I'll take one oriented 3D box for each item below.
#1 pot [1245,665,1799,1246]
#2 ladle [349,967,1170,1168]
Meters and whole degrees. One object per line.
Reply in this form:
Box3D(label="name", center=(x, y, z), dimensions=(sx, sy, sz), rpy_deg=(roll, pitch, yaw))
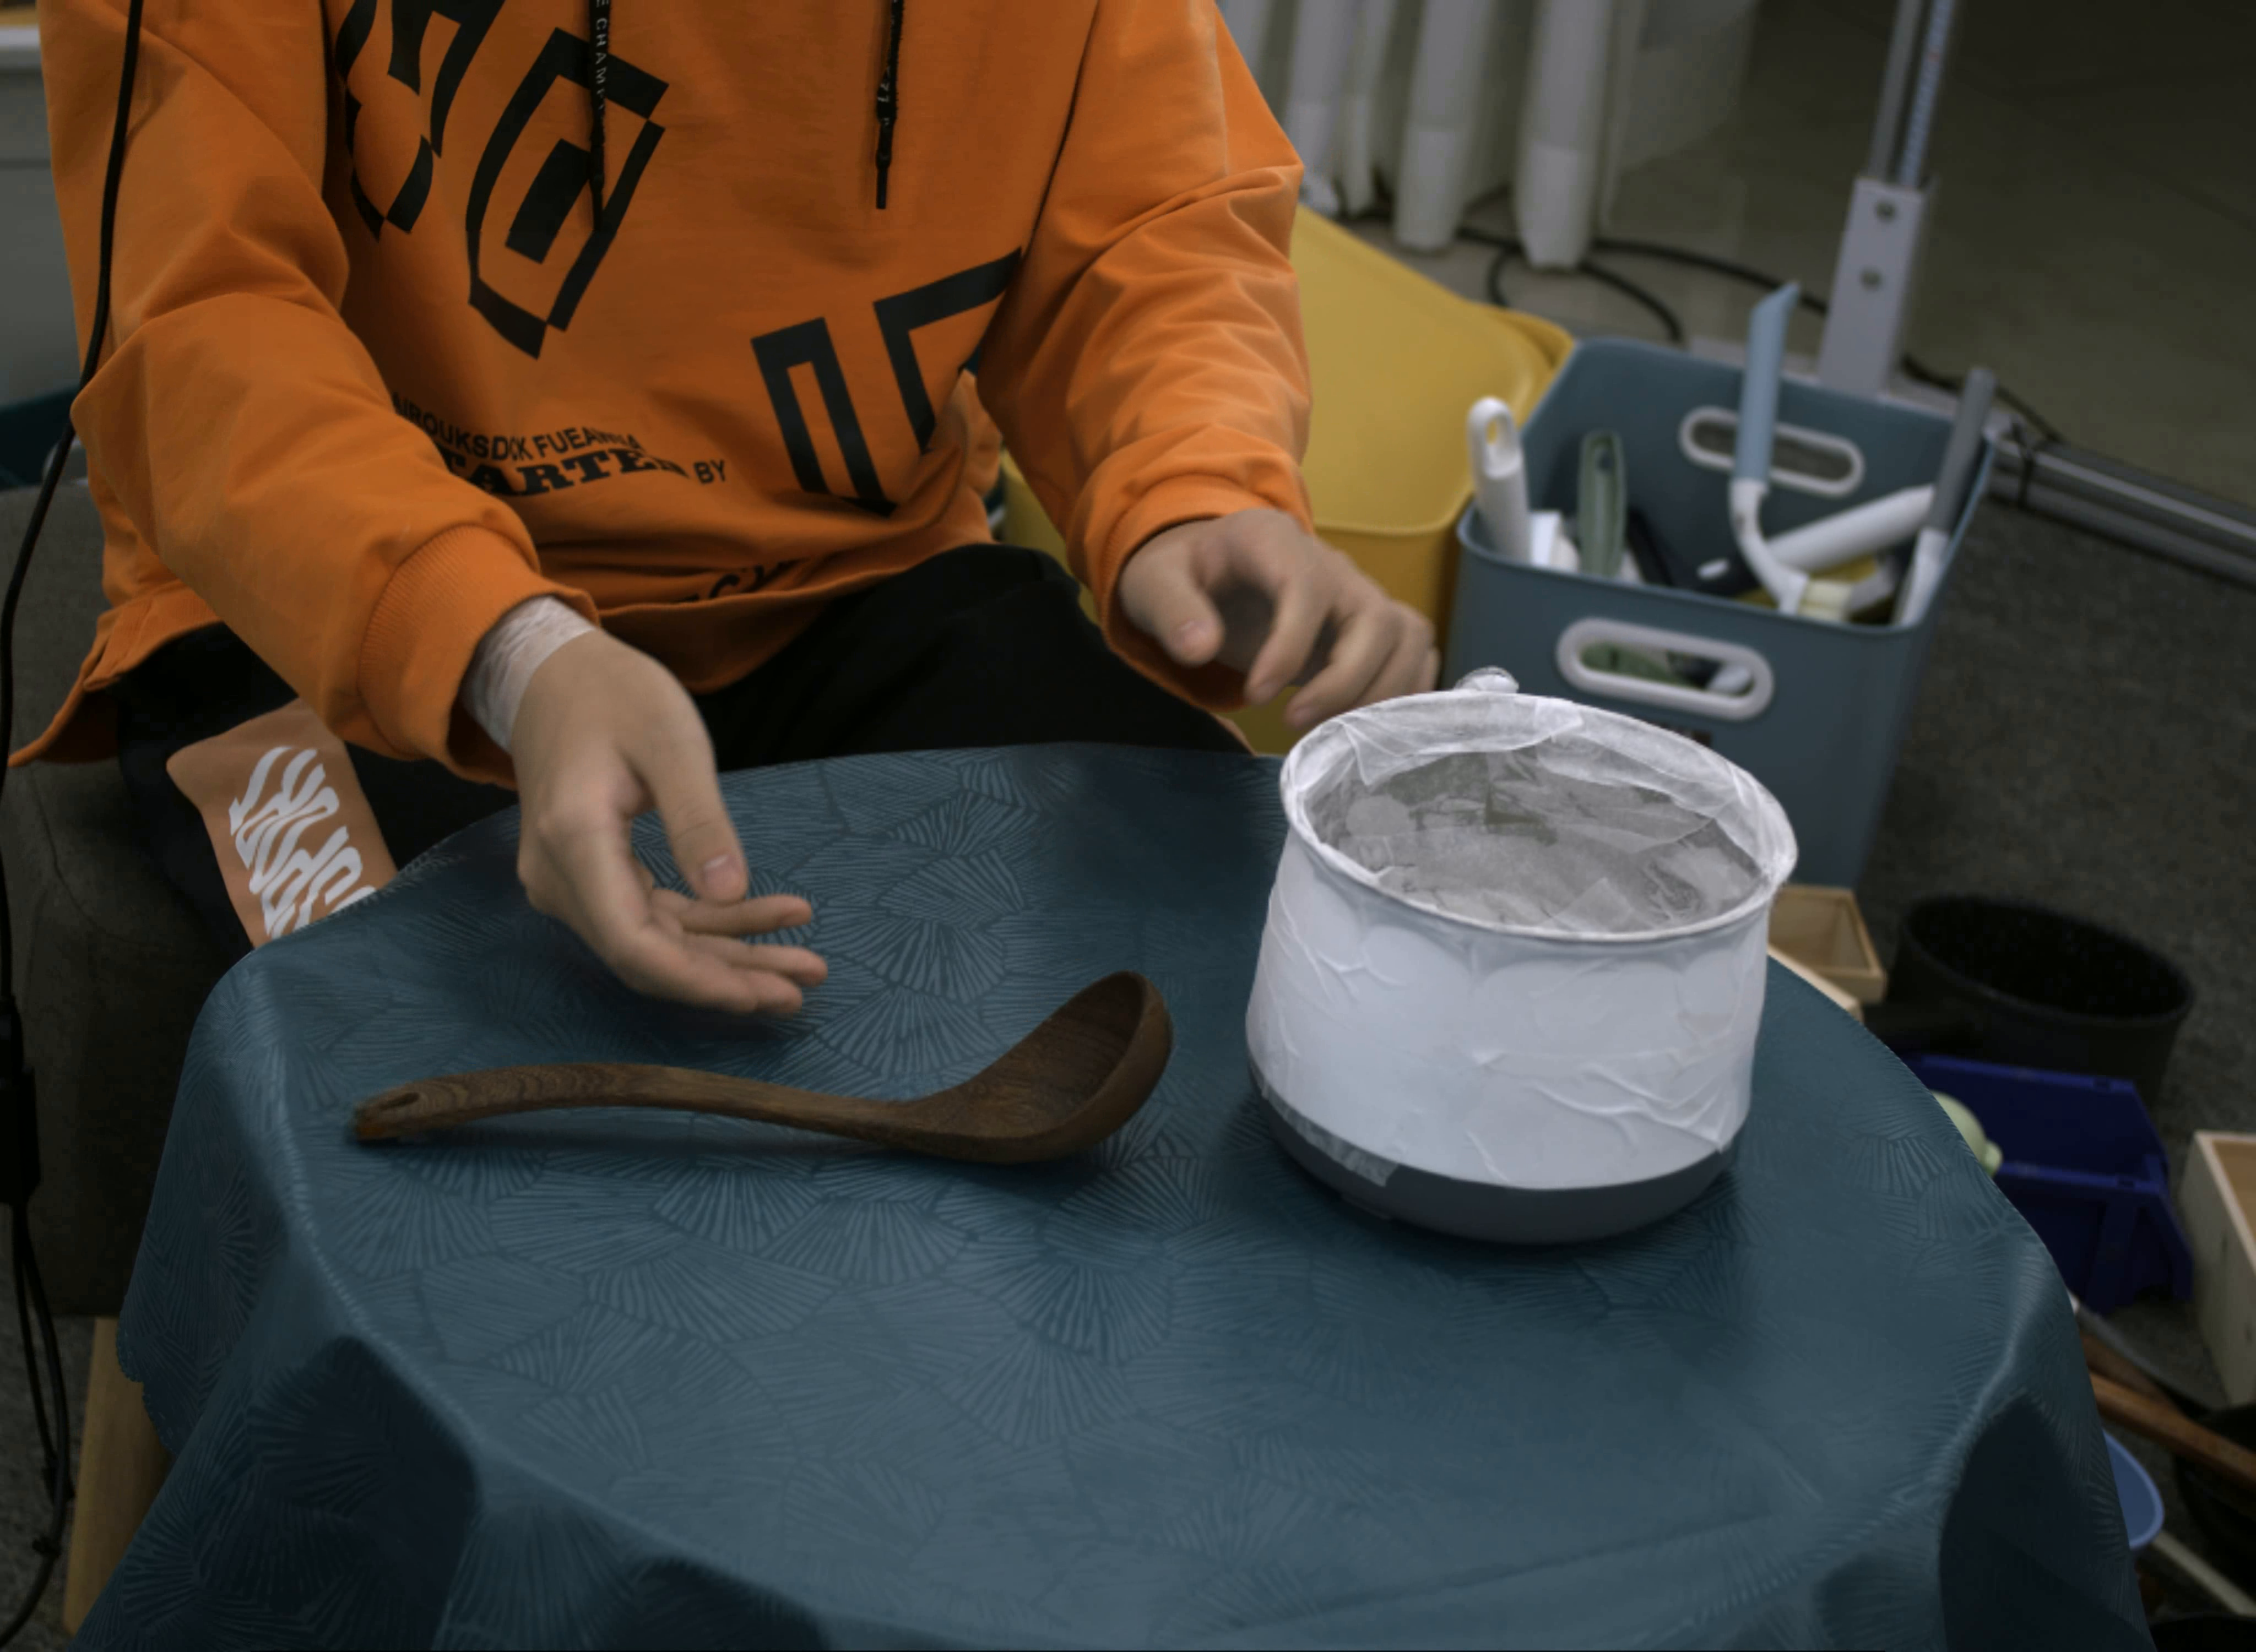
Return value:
Box3D(label="pot", center=(0.128, 0.038, 1.849), dimensions=(0.178, 0.136, 0.235), rpy_deg=(3, 27, -9))
Box3D(label="ladle", center=(-0.123, 0.076, 1.790), dimensions=(0.273, 0.071, 0.076), rpy_deg=(3, 19, -8))
